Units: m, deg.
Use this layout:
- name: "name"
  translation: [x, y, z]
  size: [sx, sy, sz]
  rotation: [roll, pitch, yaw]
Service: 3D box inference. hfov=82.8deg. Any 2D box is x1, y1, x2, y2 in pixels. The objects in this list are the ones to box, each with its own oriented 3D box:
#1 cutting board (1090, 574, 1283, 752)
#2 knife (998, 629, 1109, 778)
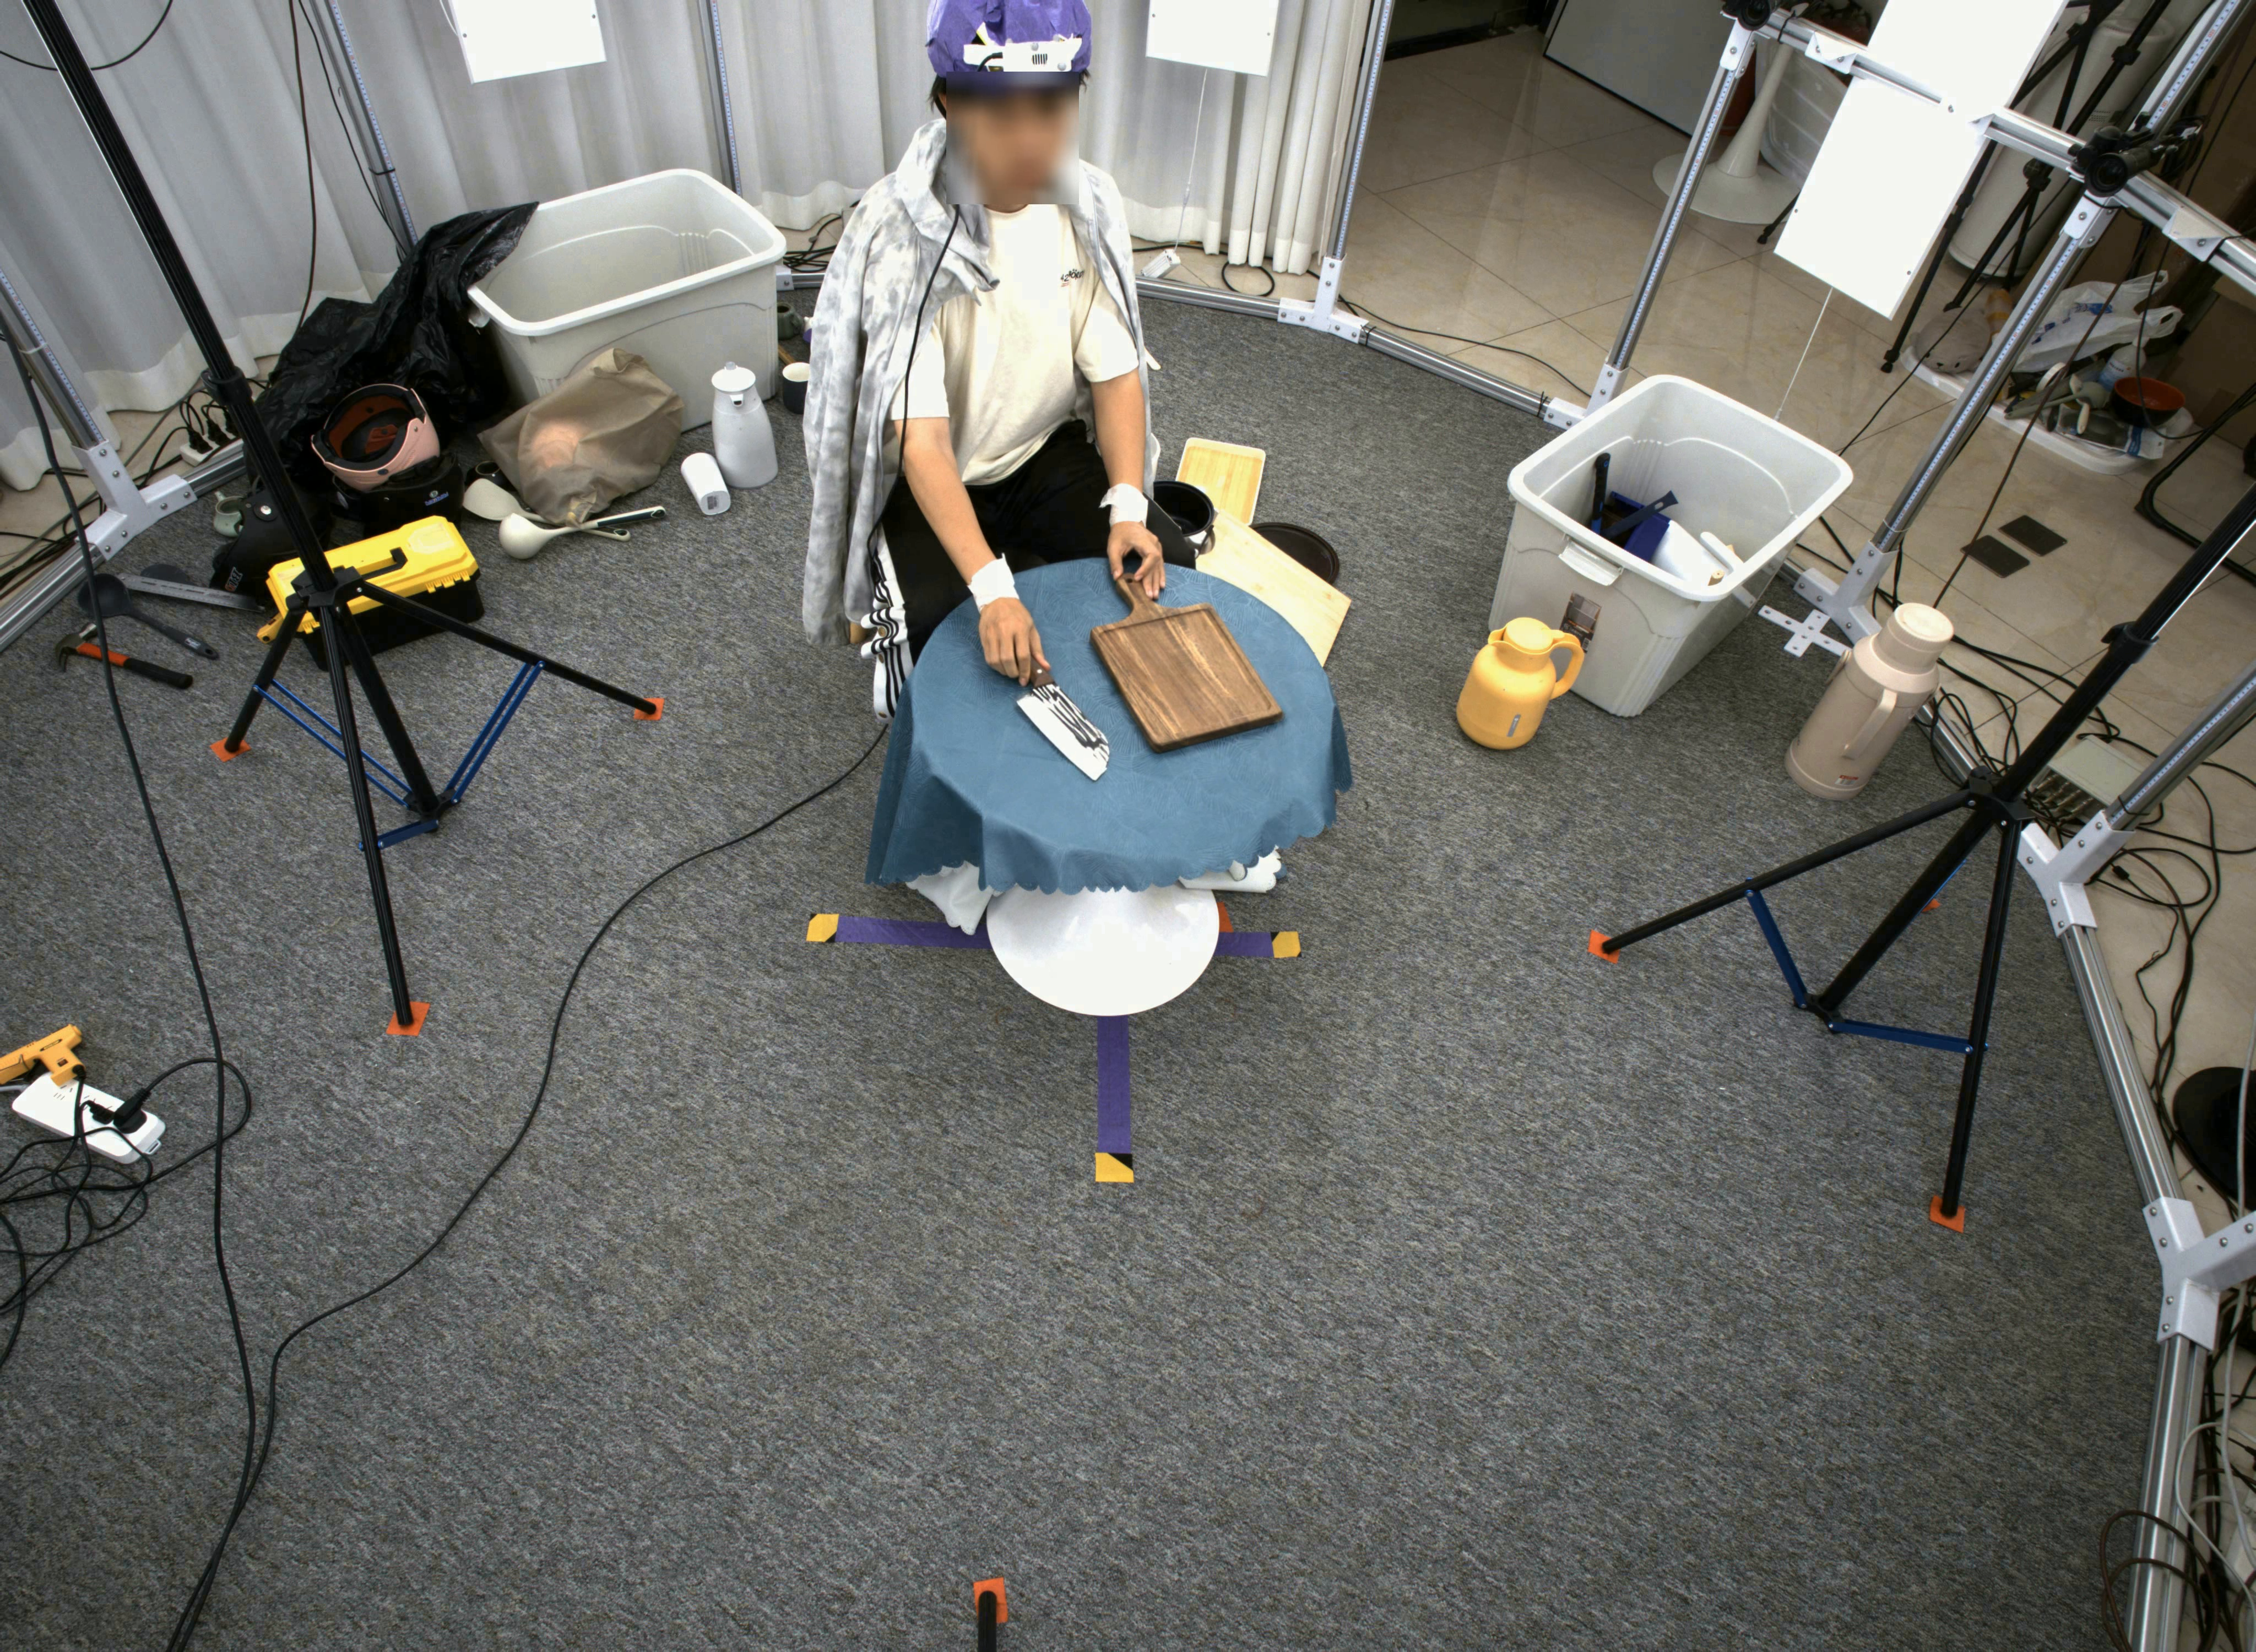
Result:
- name: "cutting board"
  translation: [0.062, -0.256, 1.874]
  size: [0.201, 0.022, 0.360]
  rotation: [-15, 51, -17]
- name: "knife"
  translation: [-0.114, -0.174, 1.790]
  size: [0.068, 0.023, 0.305]
  rotation: [-26, 57, -24]
